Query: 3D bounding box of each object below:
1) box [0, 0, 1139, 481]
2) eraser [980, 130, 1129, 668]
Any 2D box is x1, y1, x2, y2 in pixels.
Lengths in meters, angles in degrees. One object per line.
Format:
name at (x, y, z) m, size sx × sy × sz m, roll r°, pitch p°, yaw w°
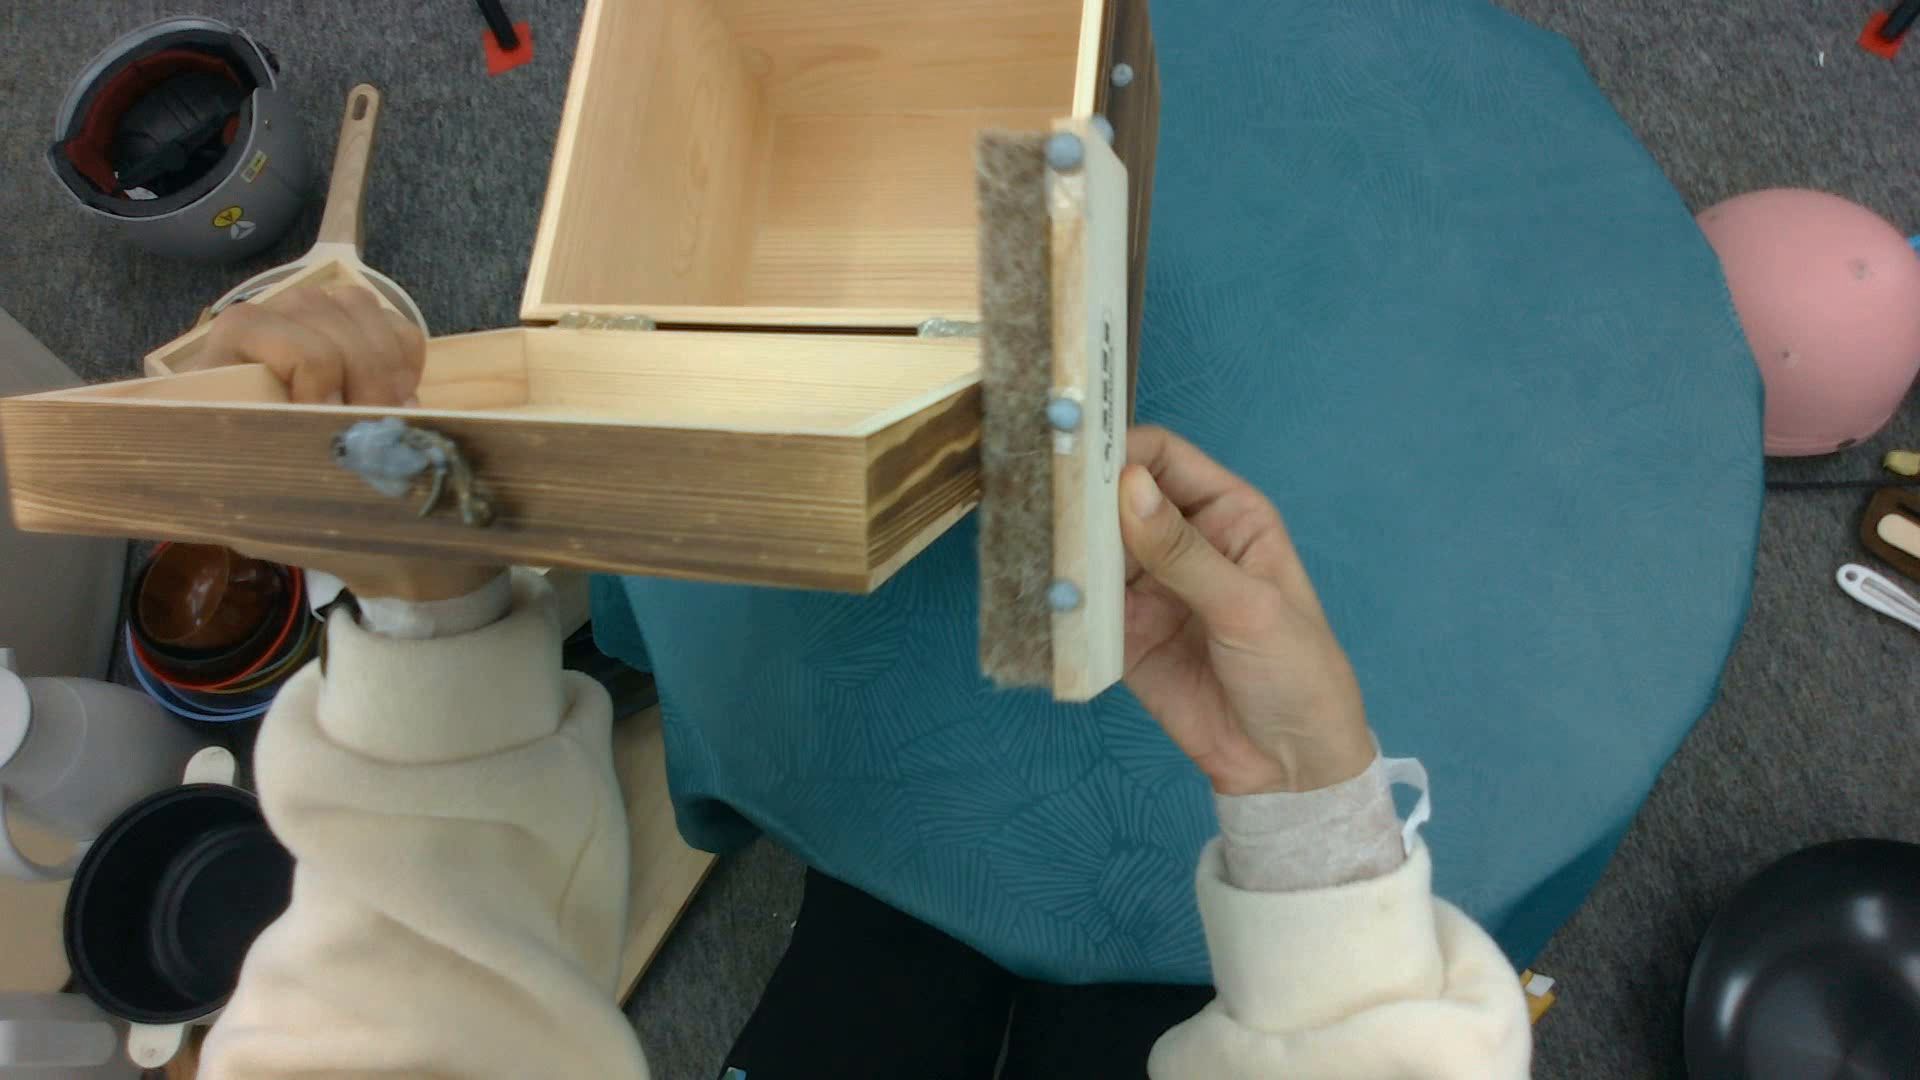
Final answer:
box at (-0.060, -0.129, 0.467) m, size 0.208 × 0.375 × 0.323 m, roll 3°, pitch 74°, yaw 13°
eraser at (0.028, -0.036, 0.380) m, size 0.029 × 0.057 × 0.139 m, roll 2°, pitch 88°, yaw 14°
